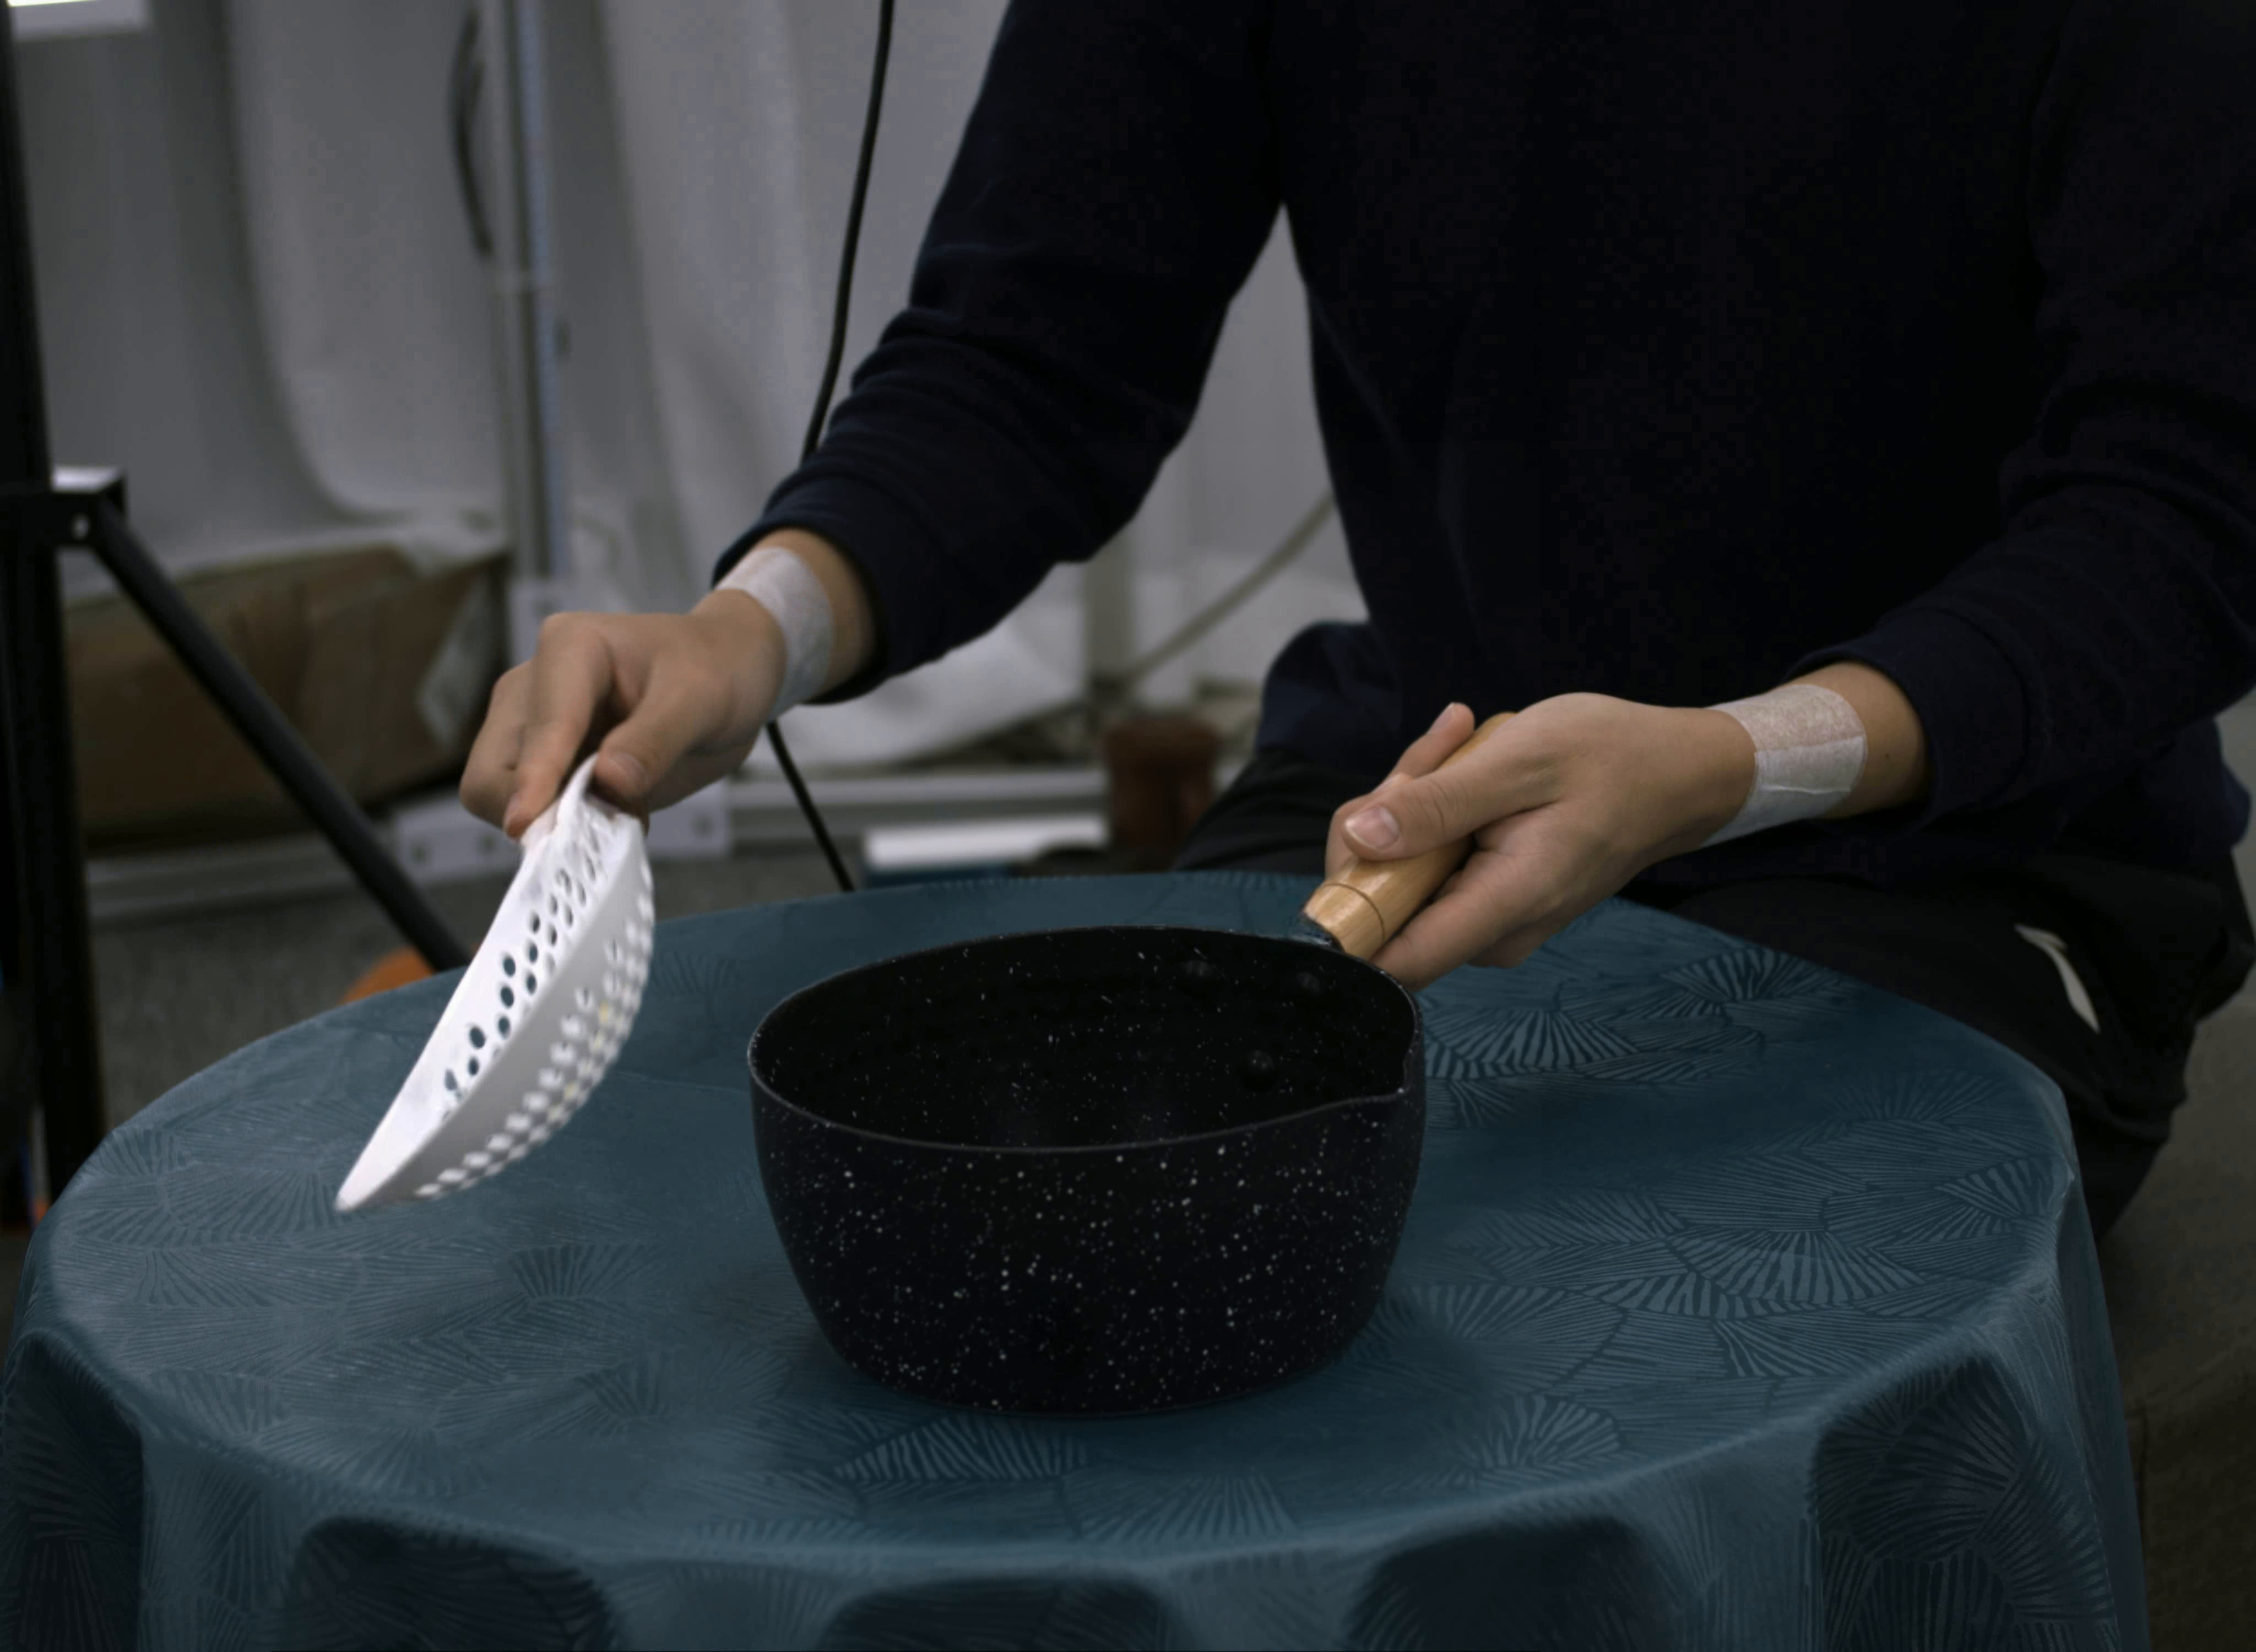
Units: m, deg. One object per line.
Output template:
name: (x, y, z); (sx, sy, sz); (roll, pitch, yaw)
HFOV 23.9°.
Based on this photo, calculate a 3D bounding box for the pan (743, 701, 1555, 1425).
pan: (0.031, 0.062, 1.506); (0.211, 0.108, 0.337); (6, 21, 32)

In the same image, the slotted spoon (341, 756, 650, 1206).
slotted spoon: (-0.168, 0.020, 1.564); (0.049, 0.137, 0.350); (31, 13, -13)
